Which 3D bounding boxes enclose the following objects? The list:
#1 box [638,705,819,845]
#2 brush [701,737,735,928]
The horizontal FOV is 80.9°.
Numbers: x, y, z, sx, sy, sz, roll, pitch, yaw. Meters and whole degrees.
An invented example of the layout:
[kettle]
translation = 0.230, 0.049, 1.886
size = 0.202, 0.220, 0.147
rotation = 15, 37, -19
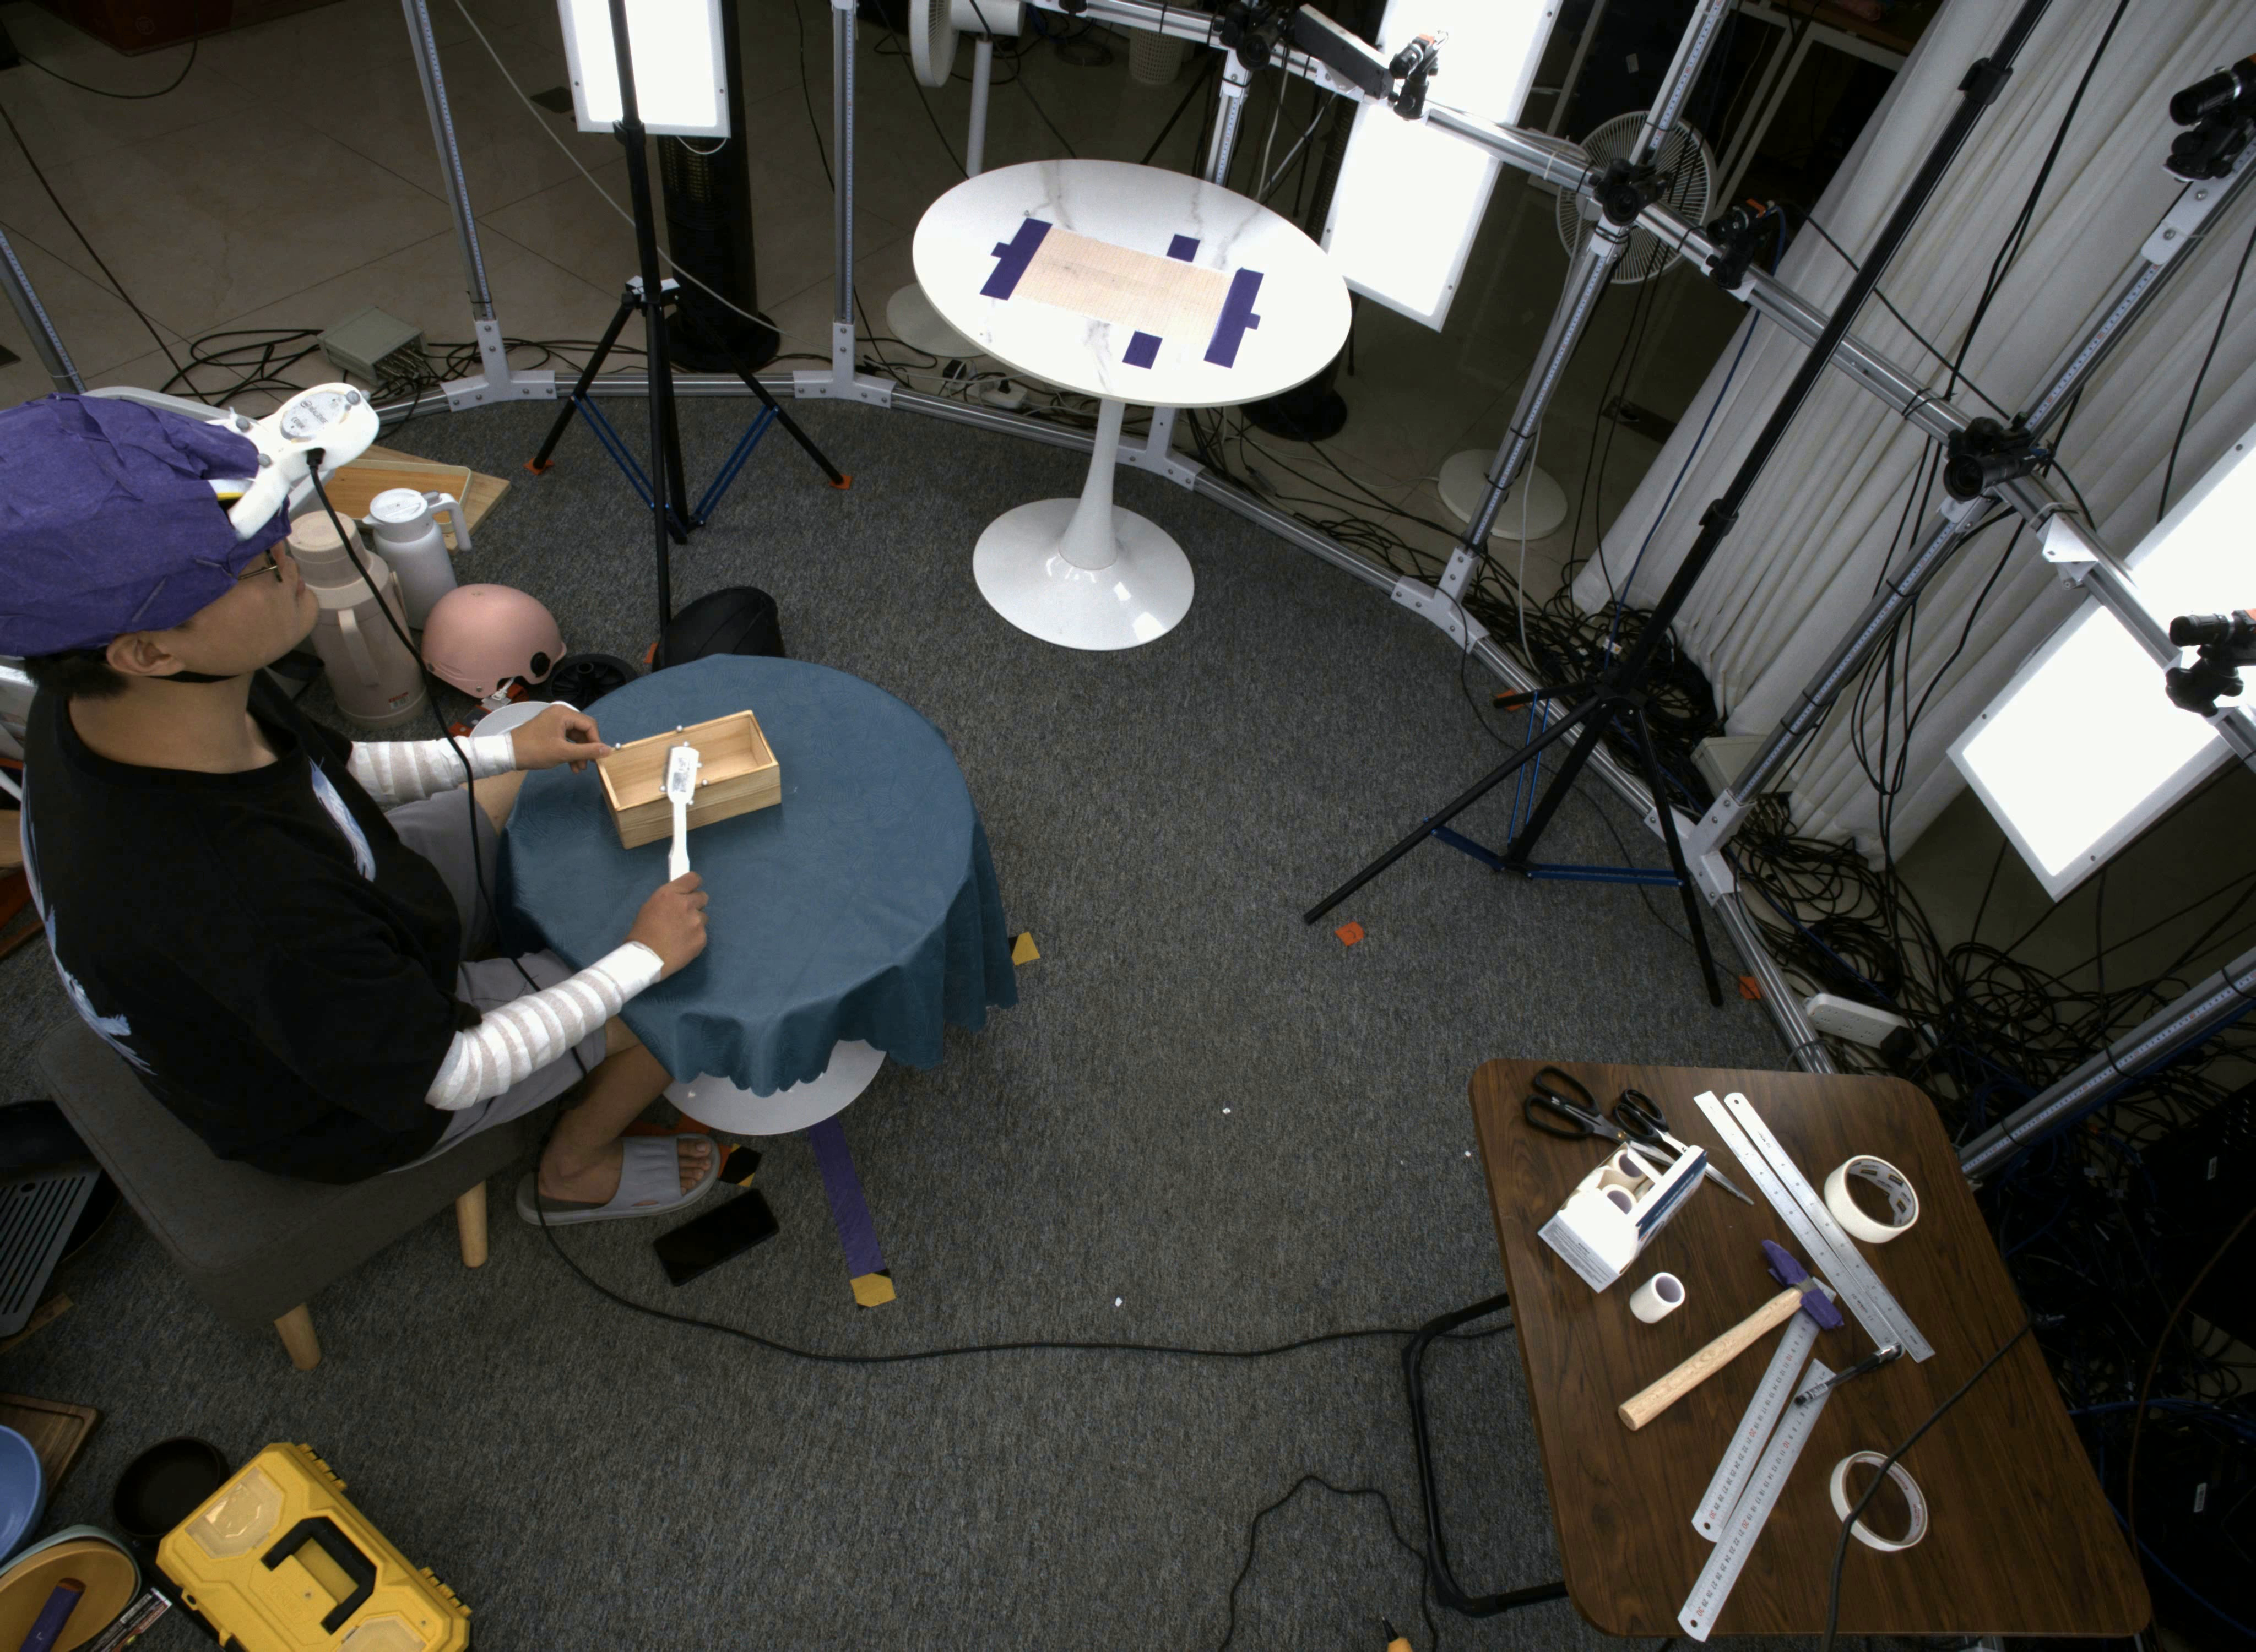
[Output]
[box]
translation = -0.529, -0.071, 1.710
size = 0.212, 0.082, 0.105
rotation = -19, 60, -24
[brush]
translation = -0.513, 0.005, 1.606
size = 0.035, 0.049, 0.244
rotation = 5, 78, -33
